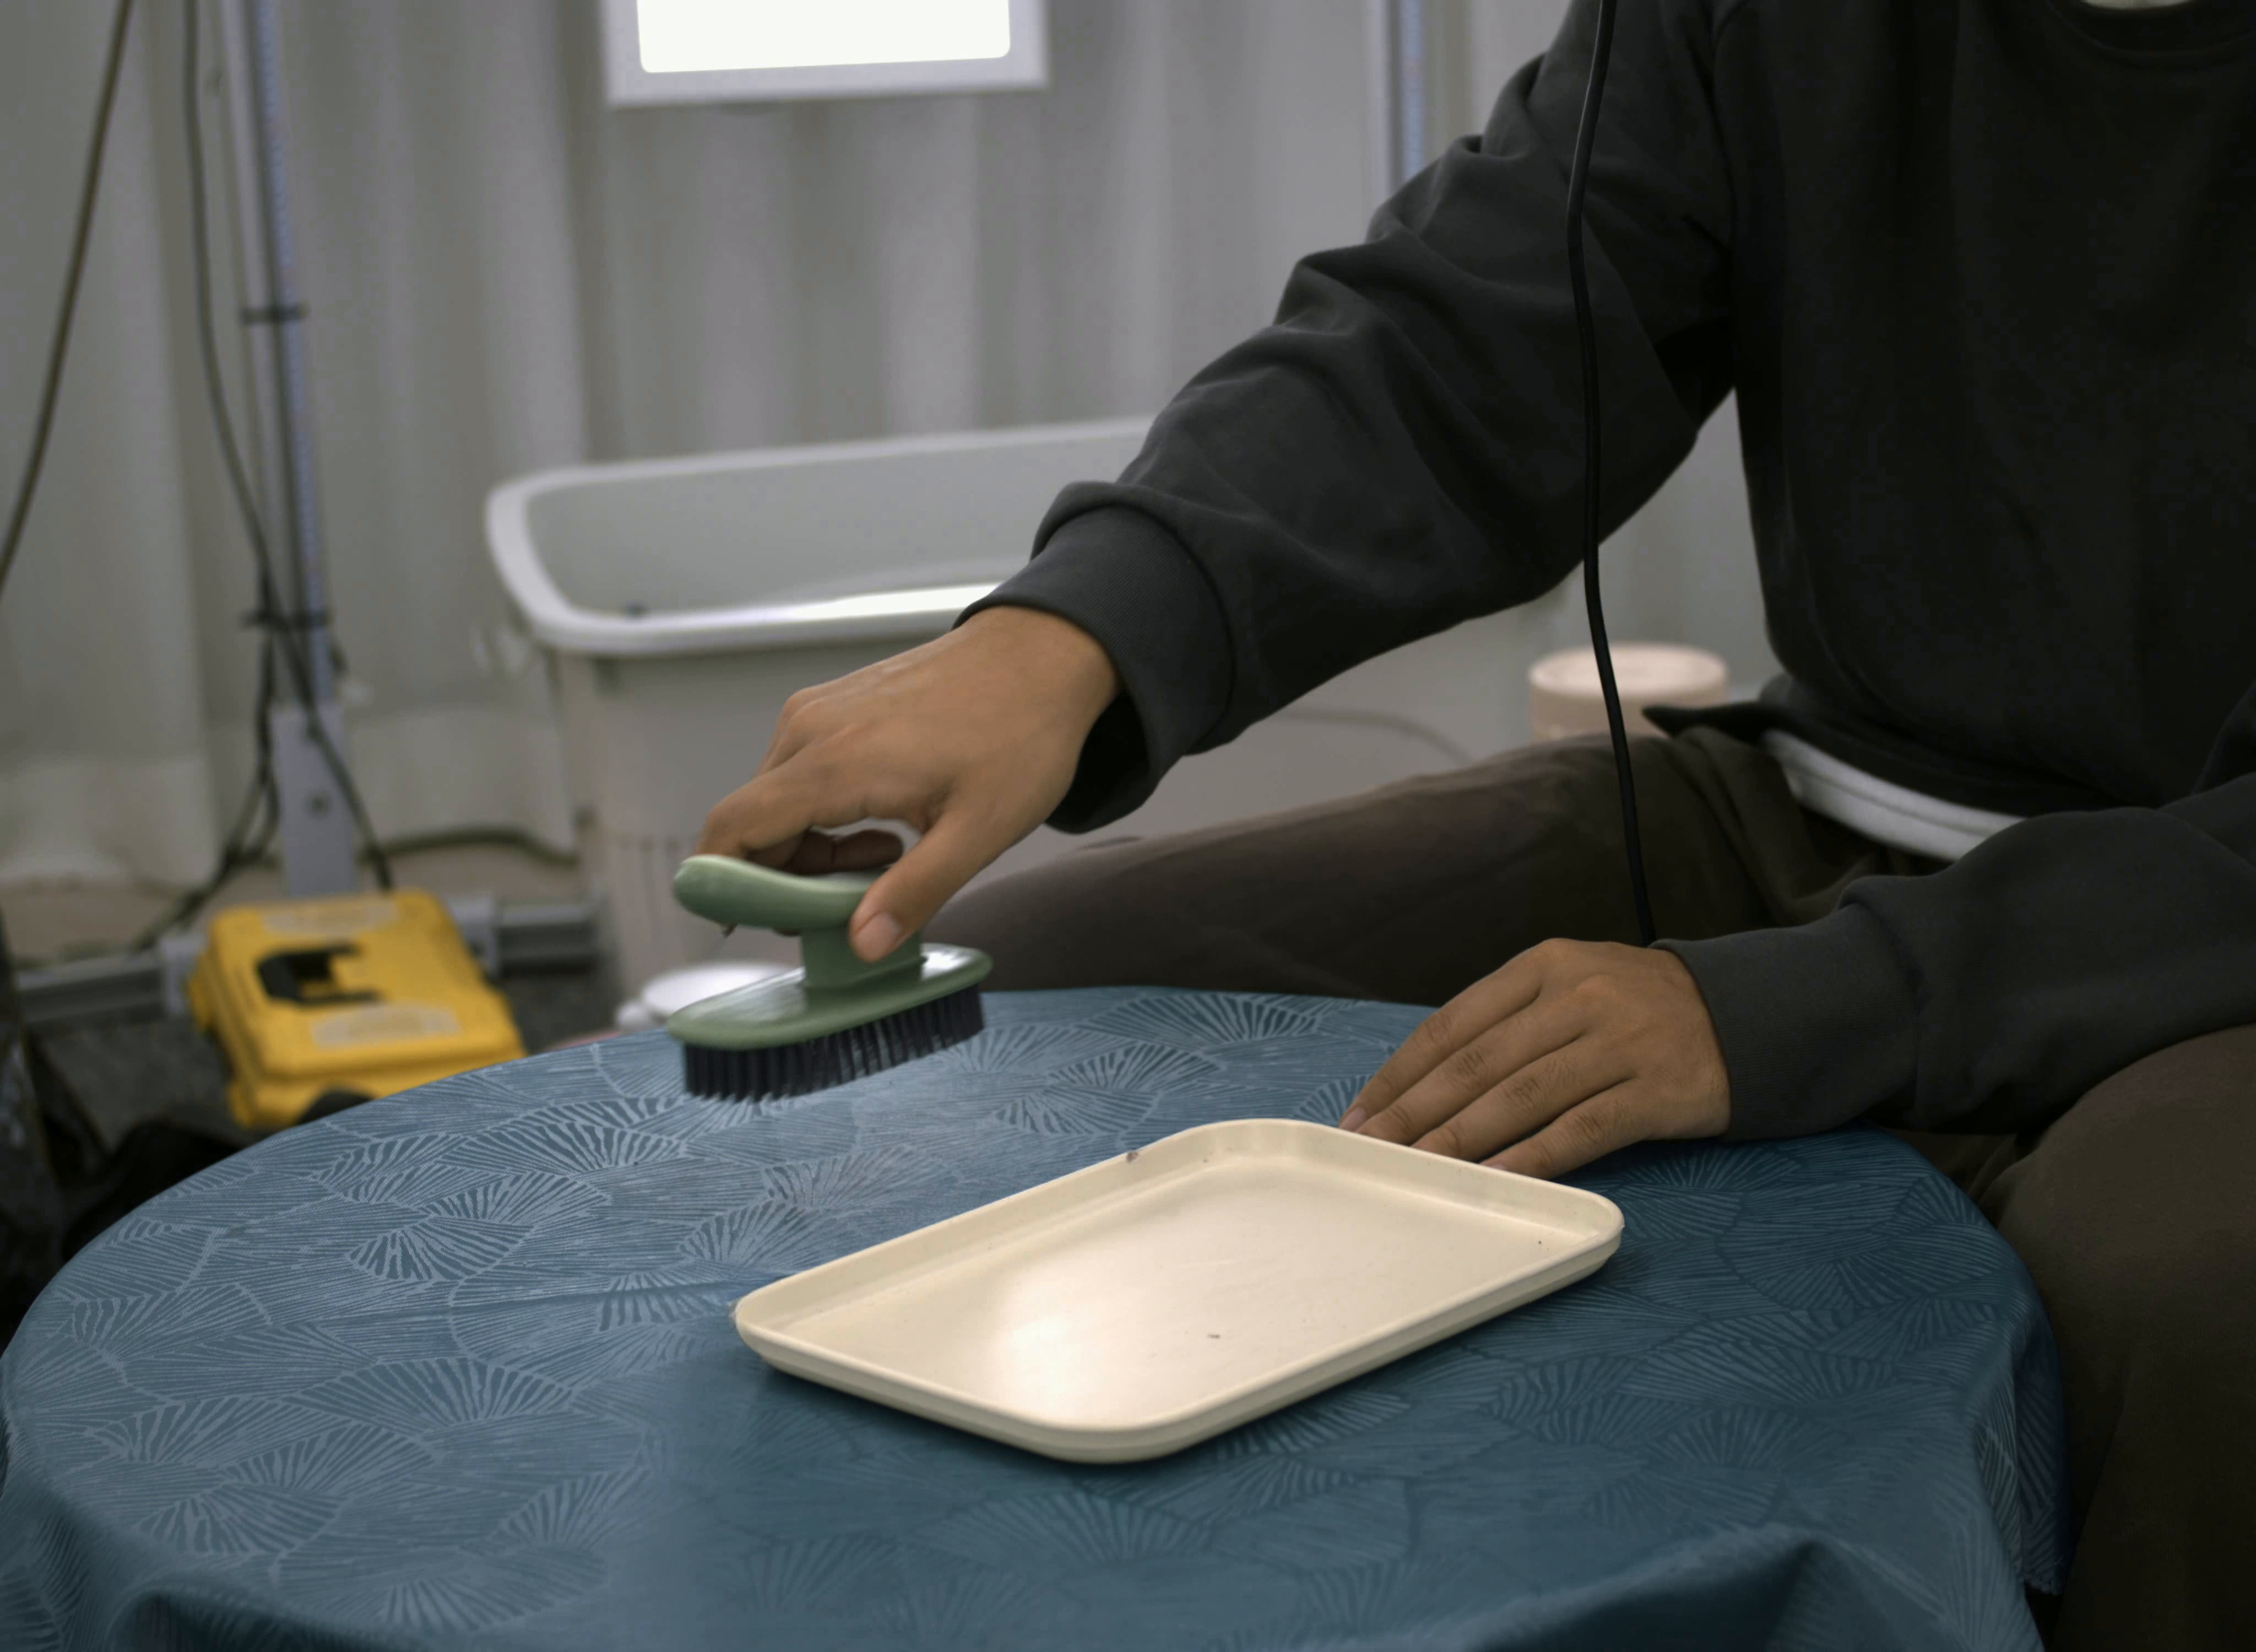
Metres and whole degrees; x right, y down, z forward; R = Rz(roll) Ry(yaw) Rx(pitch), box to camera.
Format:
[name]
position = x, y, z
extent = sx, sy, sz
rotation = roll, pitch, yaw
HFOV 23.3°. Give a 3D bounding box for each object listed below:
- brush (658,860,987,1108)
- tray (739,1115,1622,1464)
[brush]
position = -0.097, 0.050, 1.716
extent = 0.060, 0.076, 0.122
rotation = 7, 3, 41
[tray]
position = 0.018, 0.135, 1.604
extent = 0.172, 0.017, 0.239
rotation = 12, 21, 43
